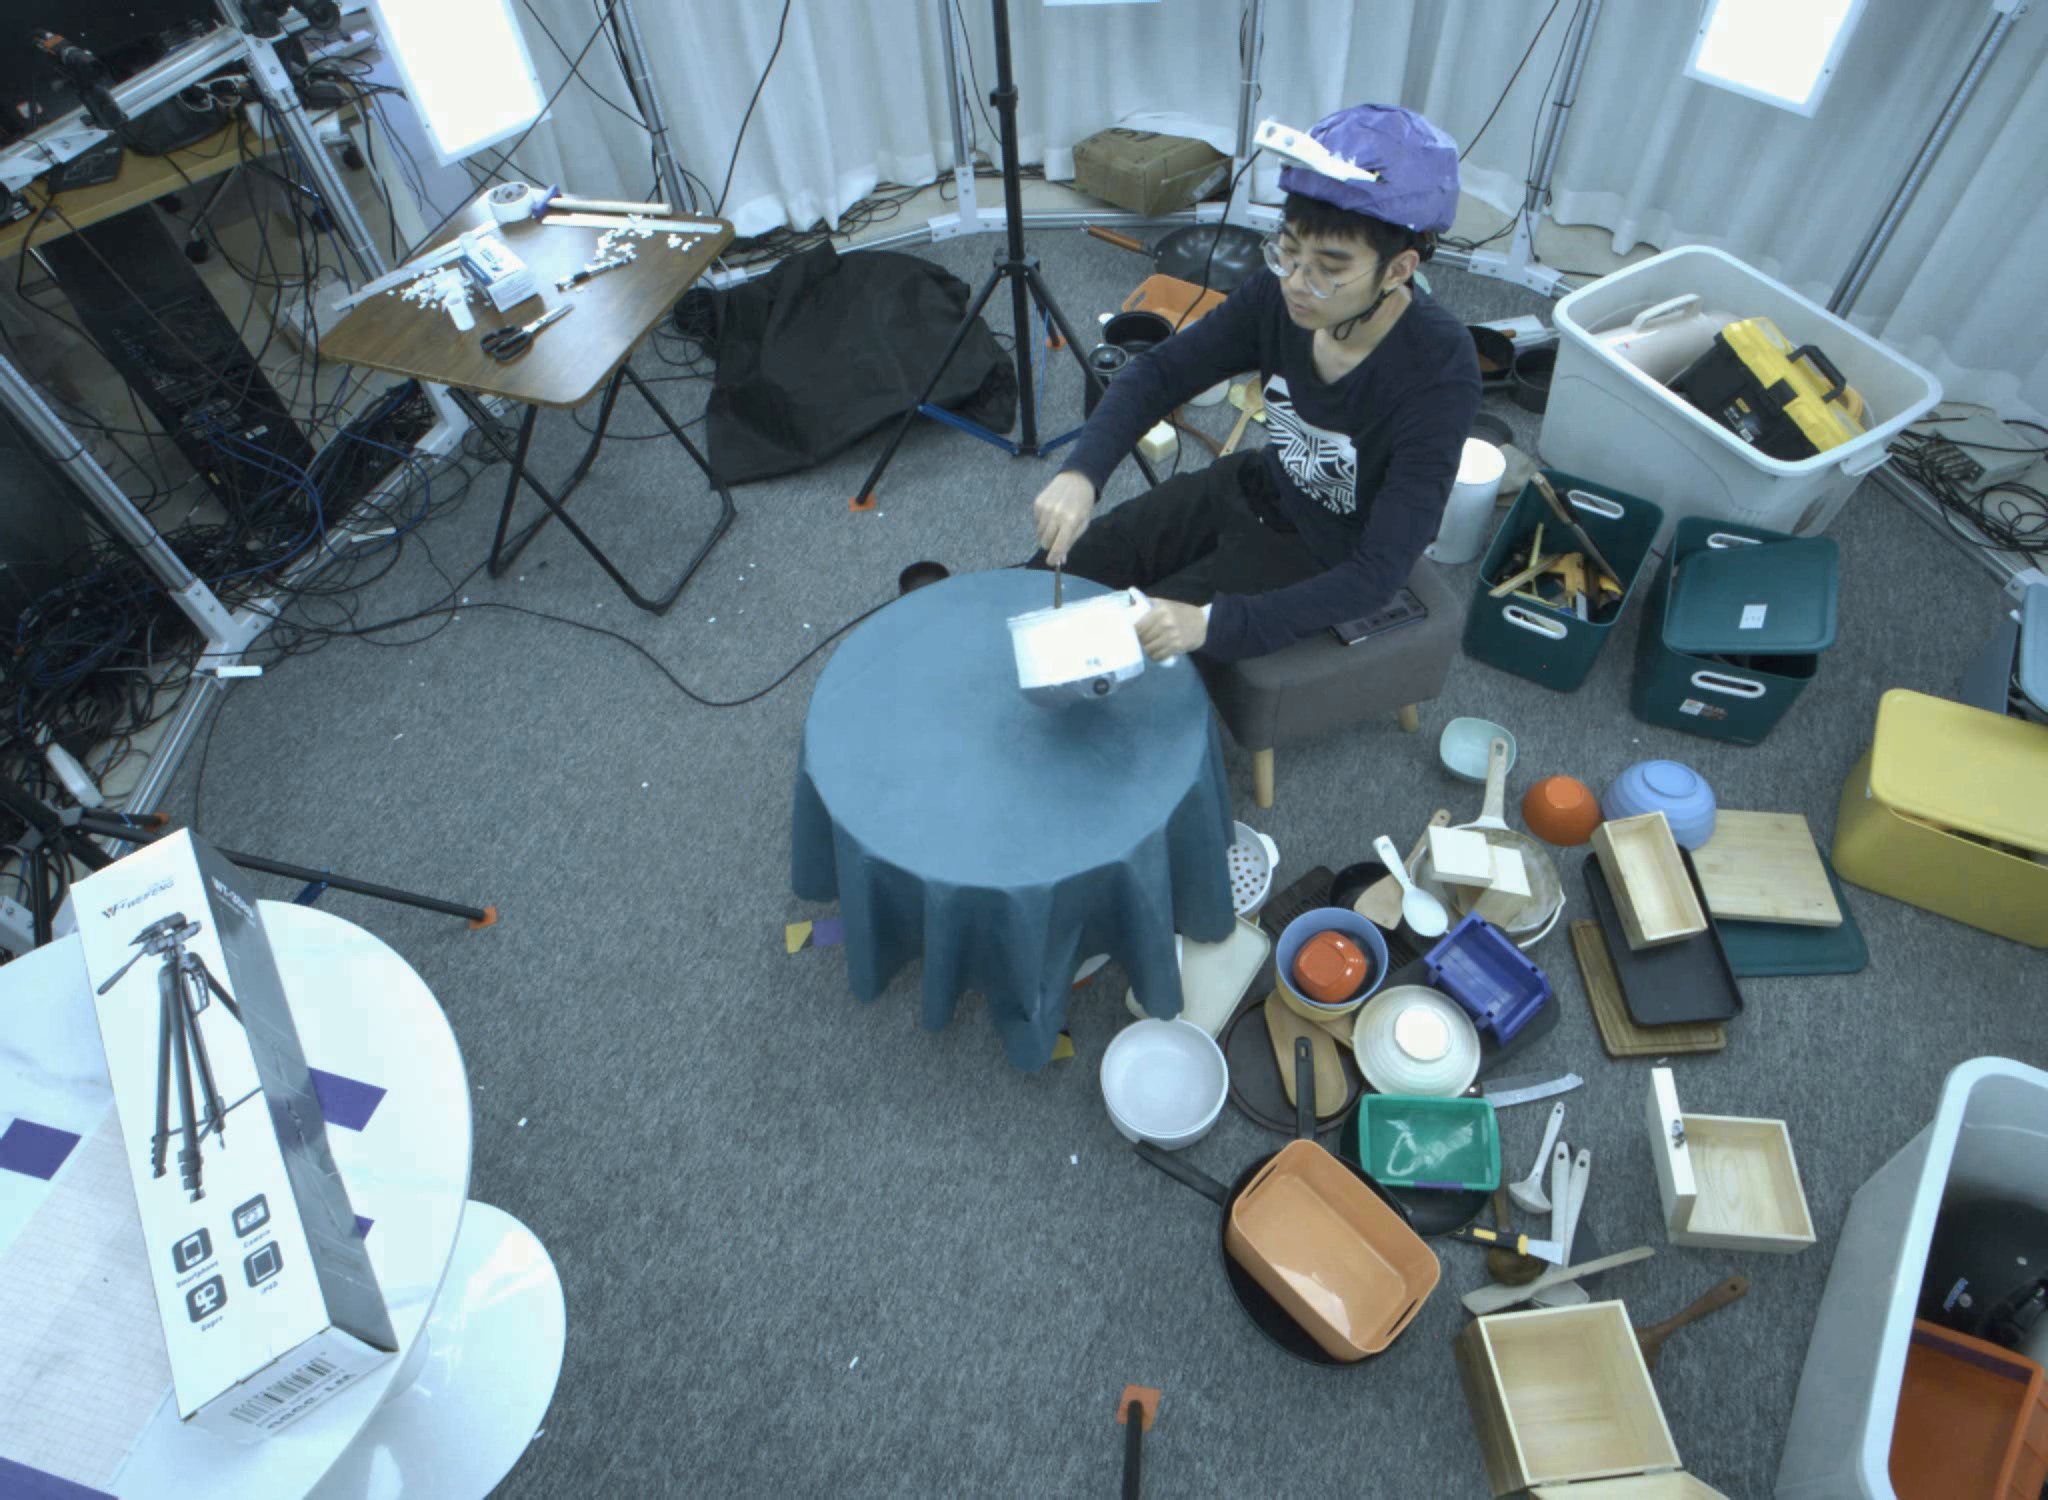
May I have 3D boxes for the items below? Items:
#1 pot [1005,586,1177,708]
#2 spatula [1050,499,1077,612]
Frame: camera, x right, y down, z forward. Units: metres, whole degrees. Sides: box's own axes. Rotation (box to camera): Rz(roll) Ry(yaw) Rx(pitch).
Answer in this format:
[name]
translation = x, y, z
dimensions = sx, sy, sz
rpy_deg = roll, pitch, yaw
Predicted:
[pot]
translation = 0.099, -0.150, 1.752
dimensions = 0.236, 0.137, 0.176
rpy_deg = -16, 12, -14
[spatula]
translation = 0.054, -0.268, 1.781
dimensions = 0.009, 0.073, 0.214
rpy_deg = -13, 69, 32
